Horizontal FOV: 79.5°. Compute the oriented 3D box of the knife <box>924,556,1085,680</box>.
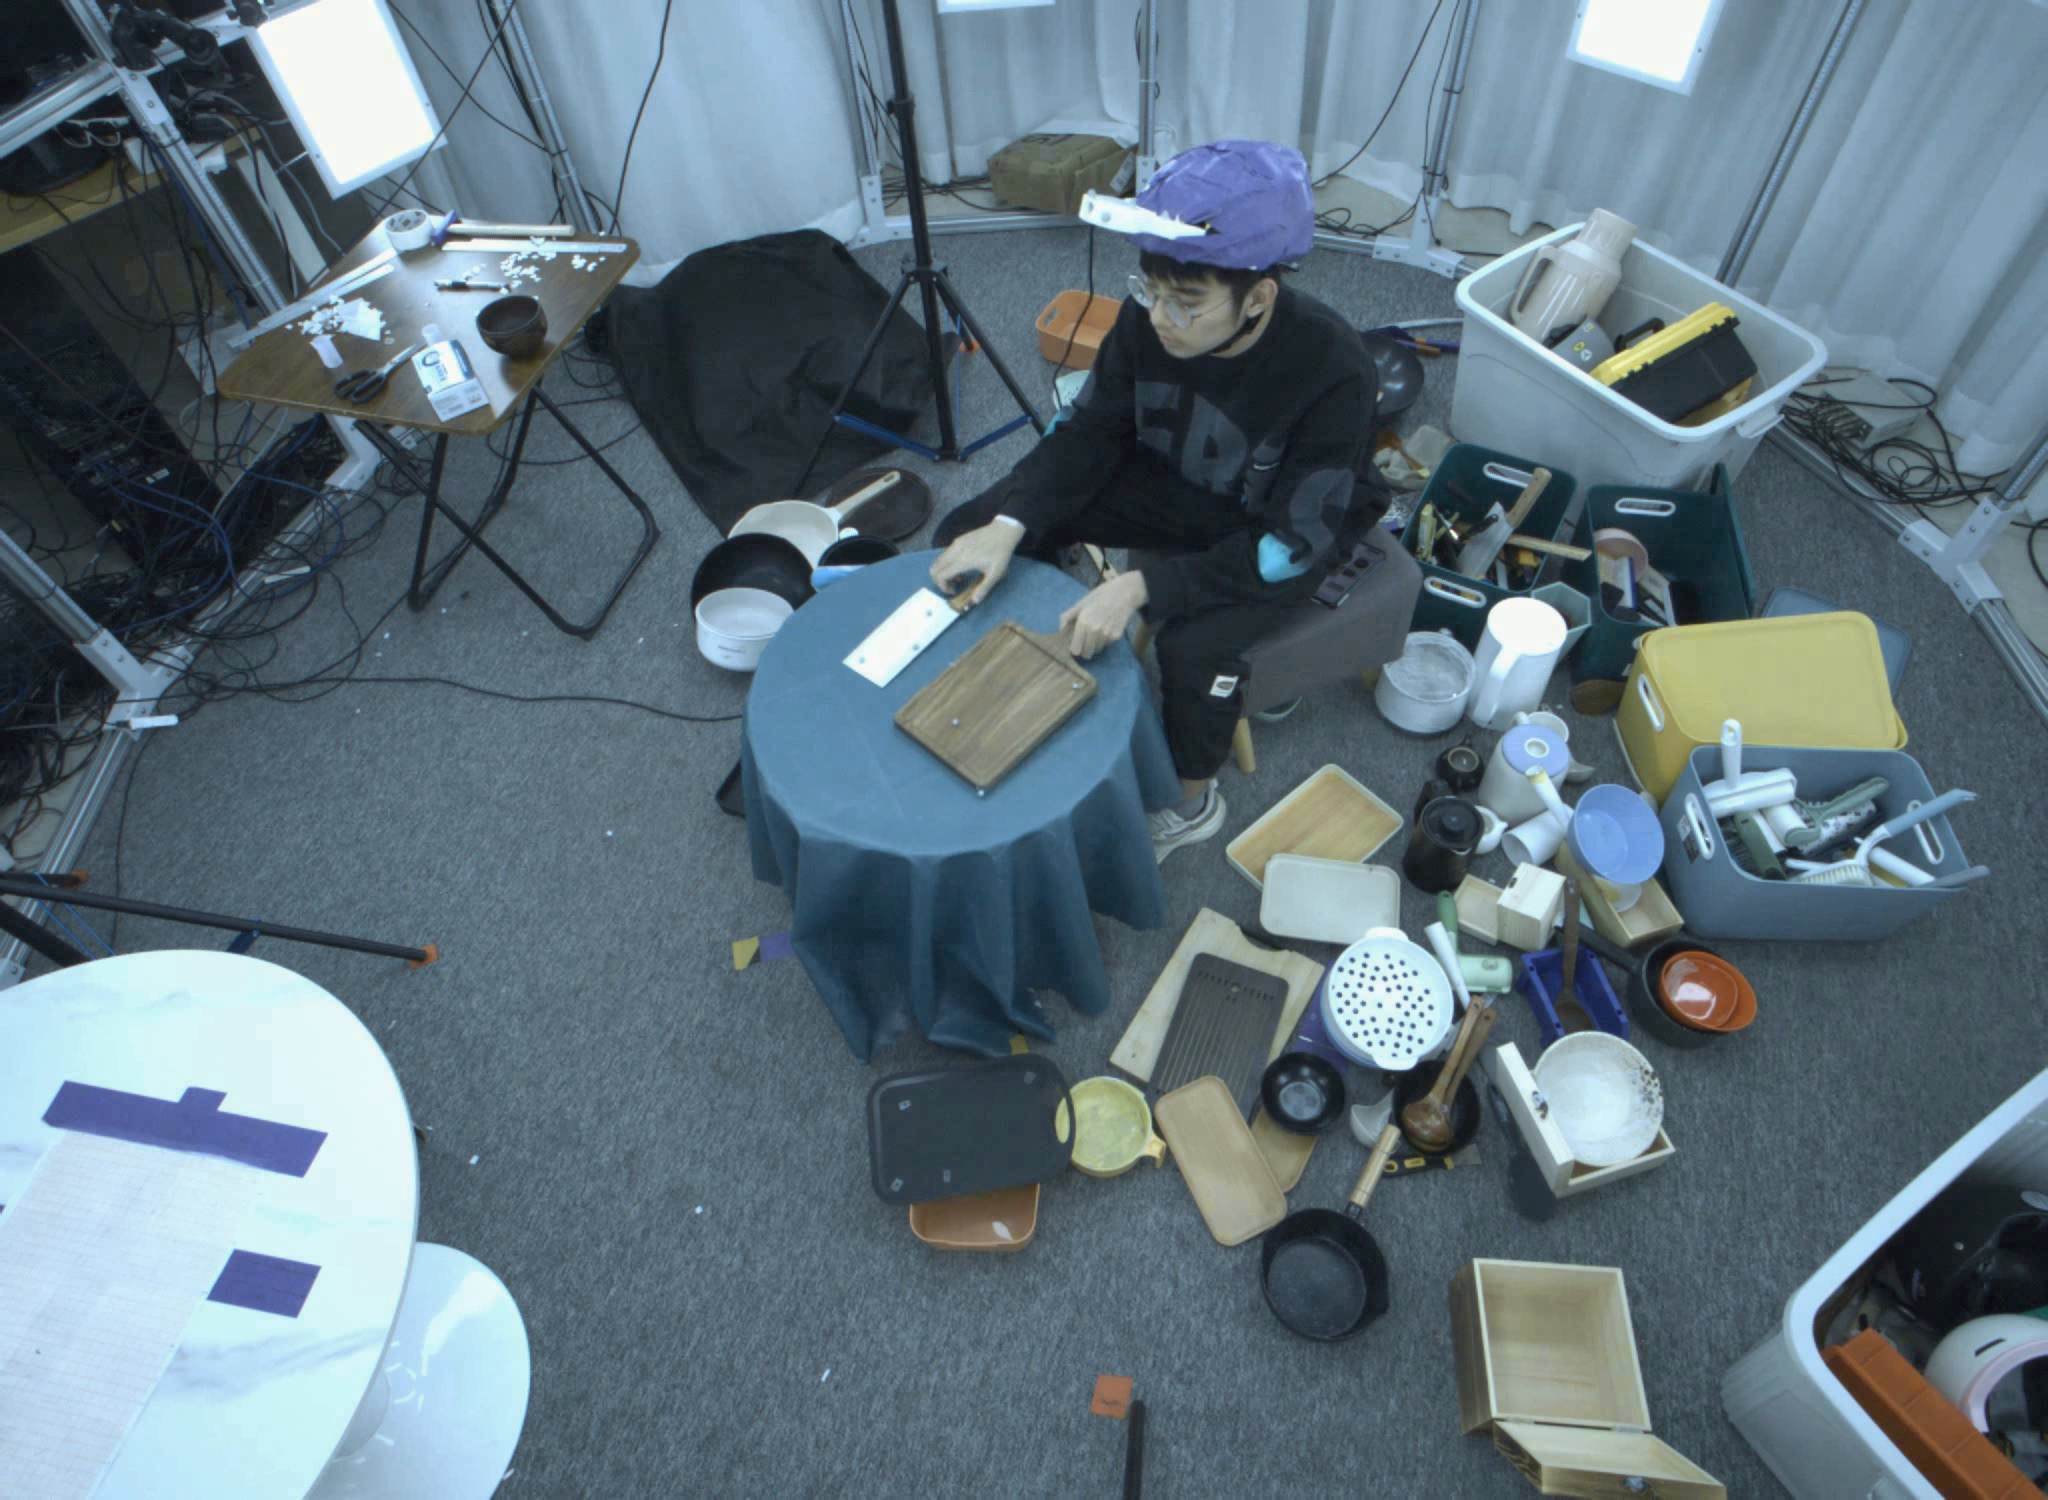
[{"bbox_3d":[-0.034,-0.222,1.936,0.091,0.021,0.307,37,66,26],"label":"knife"}]

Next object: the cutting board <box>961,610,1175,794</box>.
[{"bbox_3d":[0.097,-0.098,1.828,0.354,0.023,0.197,-39,62,-19],"label":"cutting board"}]
